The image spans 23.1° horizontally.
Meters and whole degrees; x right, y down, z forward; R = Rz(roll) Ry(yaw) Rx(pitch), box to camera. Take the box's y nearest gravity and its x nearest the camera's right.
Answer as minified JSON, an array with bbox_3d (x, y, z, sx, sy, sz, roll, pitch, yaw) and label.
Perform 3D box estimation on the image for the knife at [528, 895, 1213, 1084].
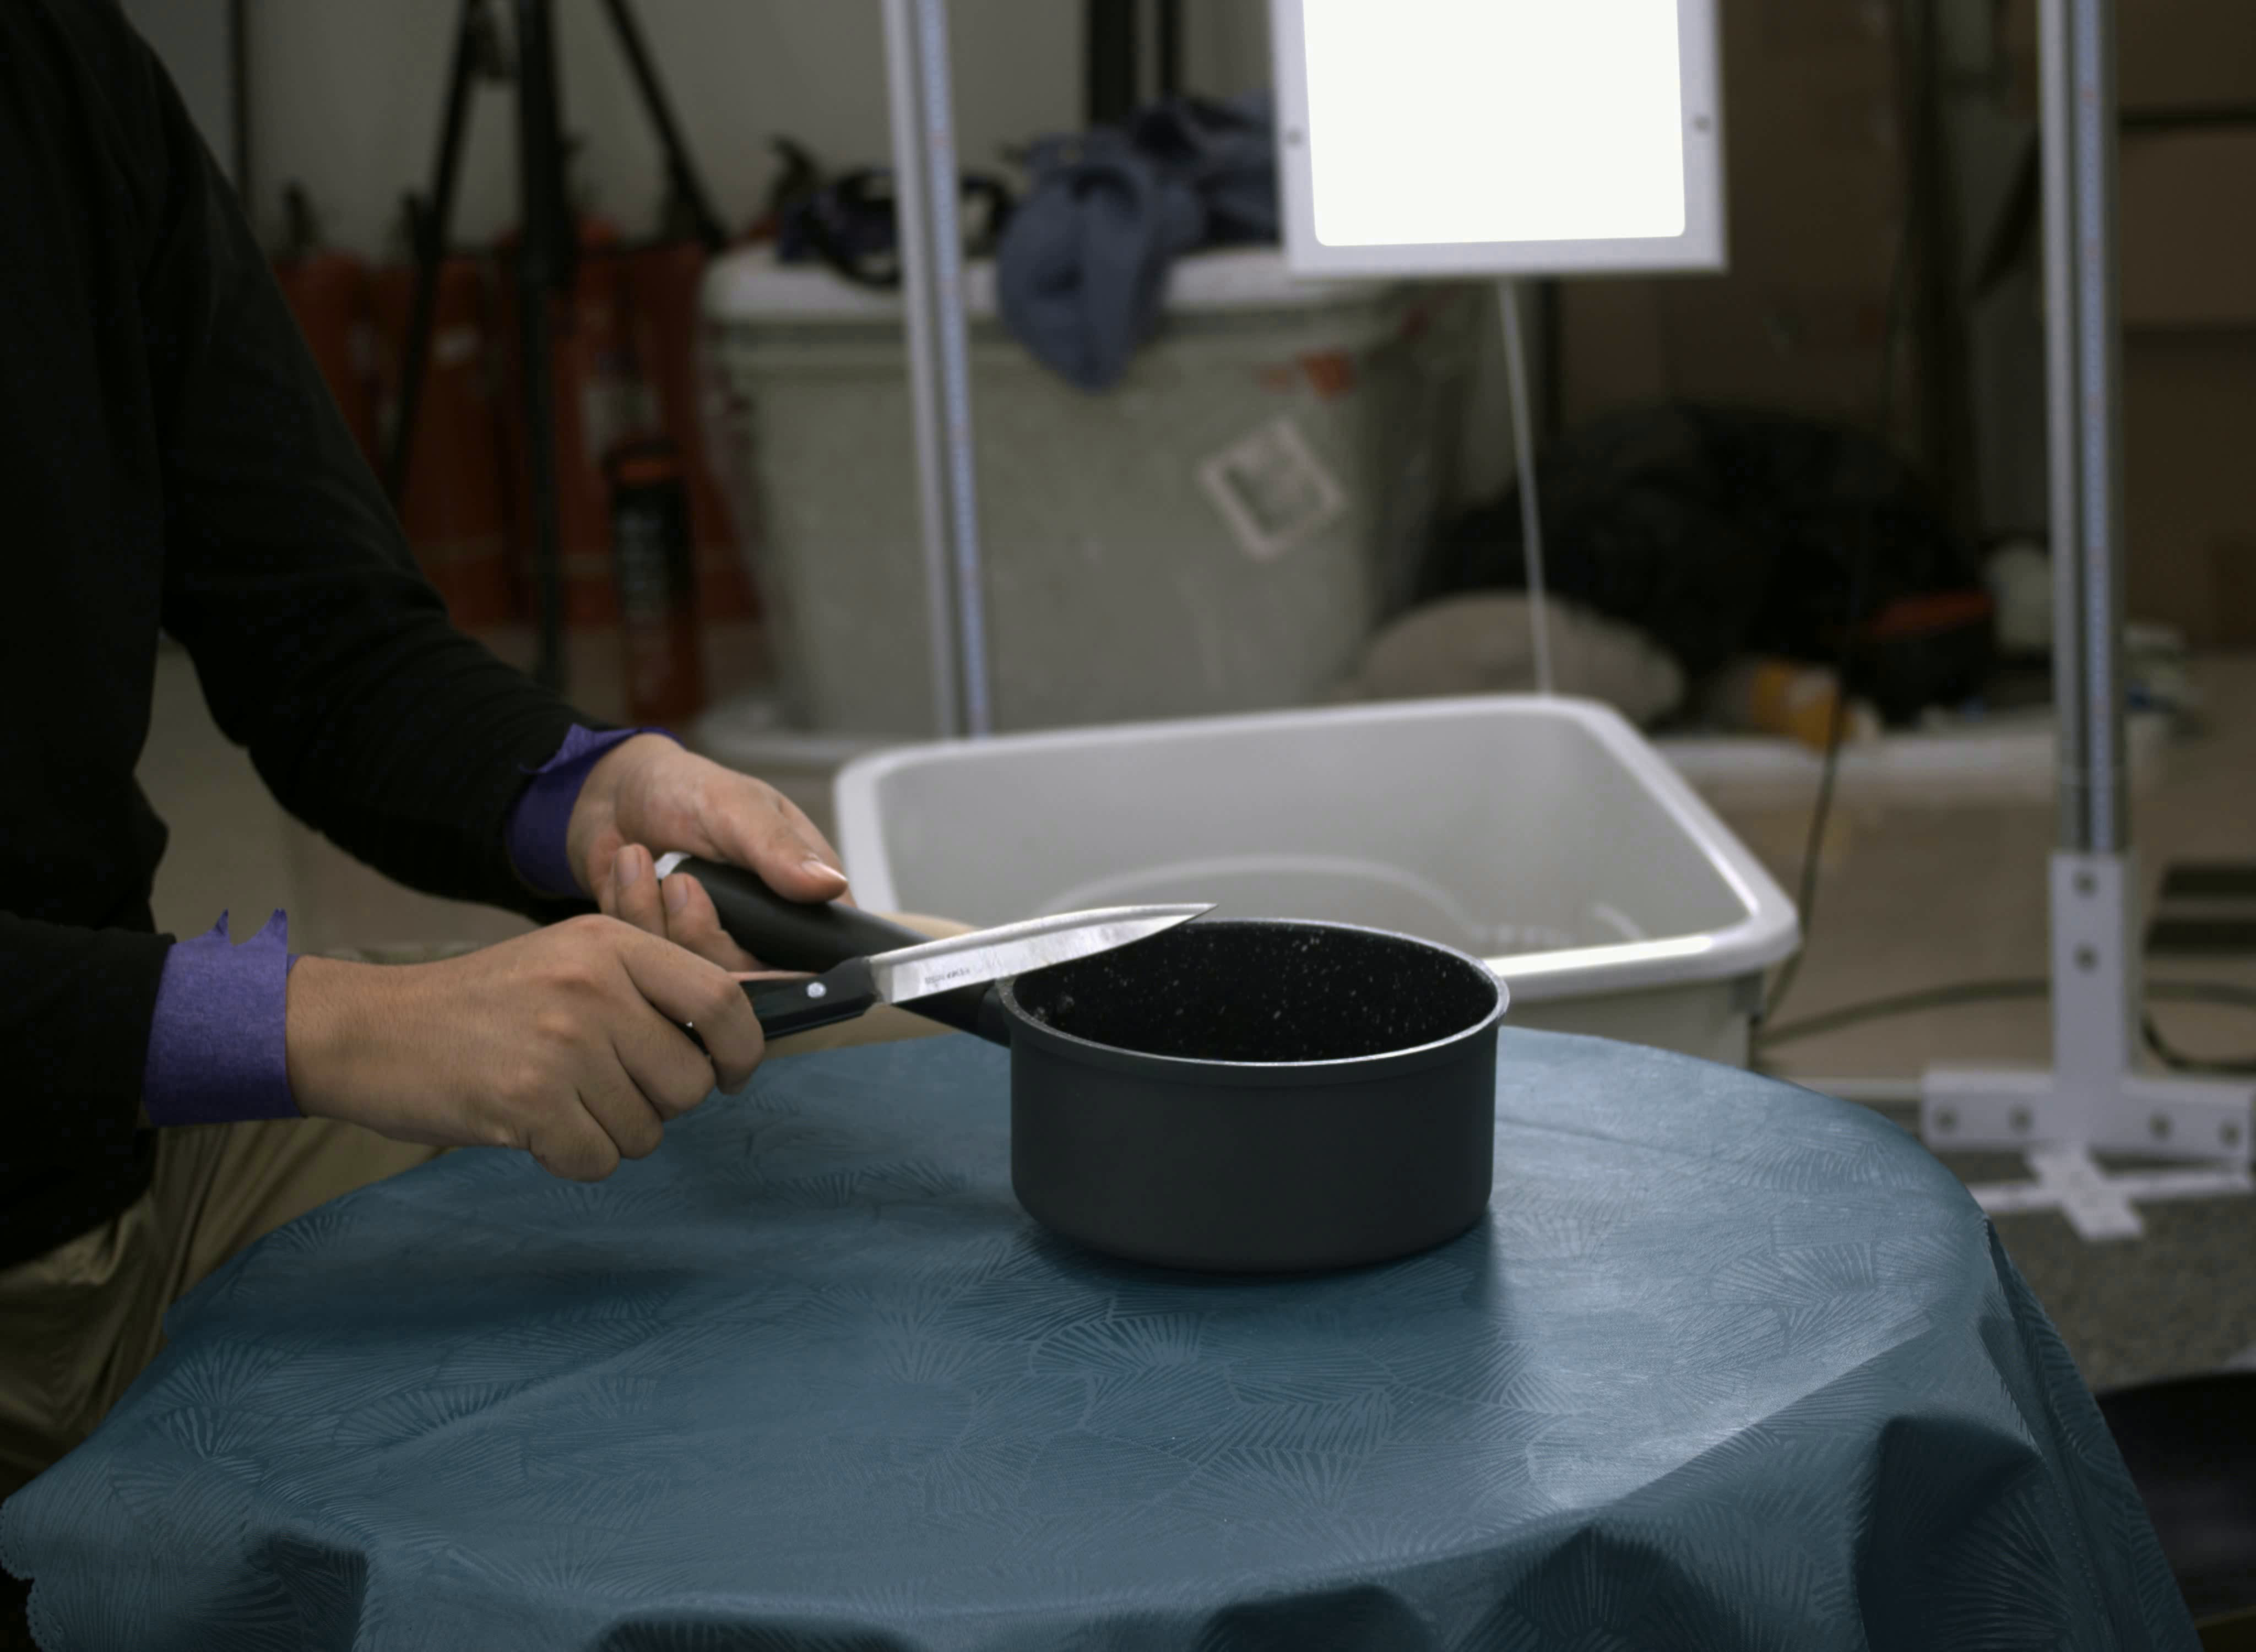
[{"bbox_3d":[-0.085,0.053,1.858,0.237,0.016,0.024,-13,50,-3],"label":"knife"}]

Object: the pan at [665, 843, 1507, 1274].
[{"bbox_3d":[-0.025,0.075,1.894,0.335,0.087,0.168,11,18,34],"label":"pan"}]
